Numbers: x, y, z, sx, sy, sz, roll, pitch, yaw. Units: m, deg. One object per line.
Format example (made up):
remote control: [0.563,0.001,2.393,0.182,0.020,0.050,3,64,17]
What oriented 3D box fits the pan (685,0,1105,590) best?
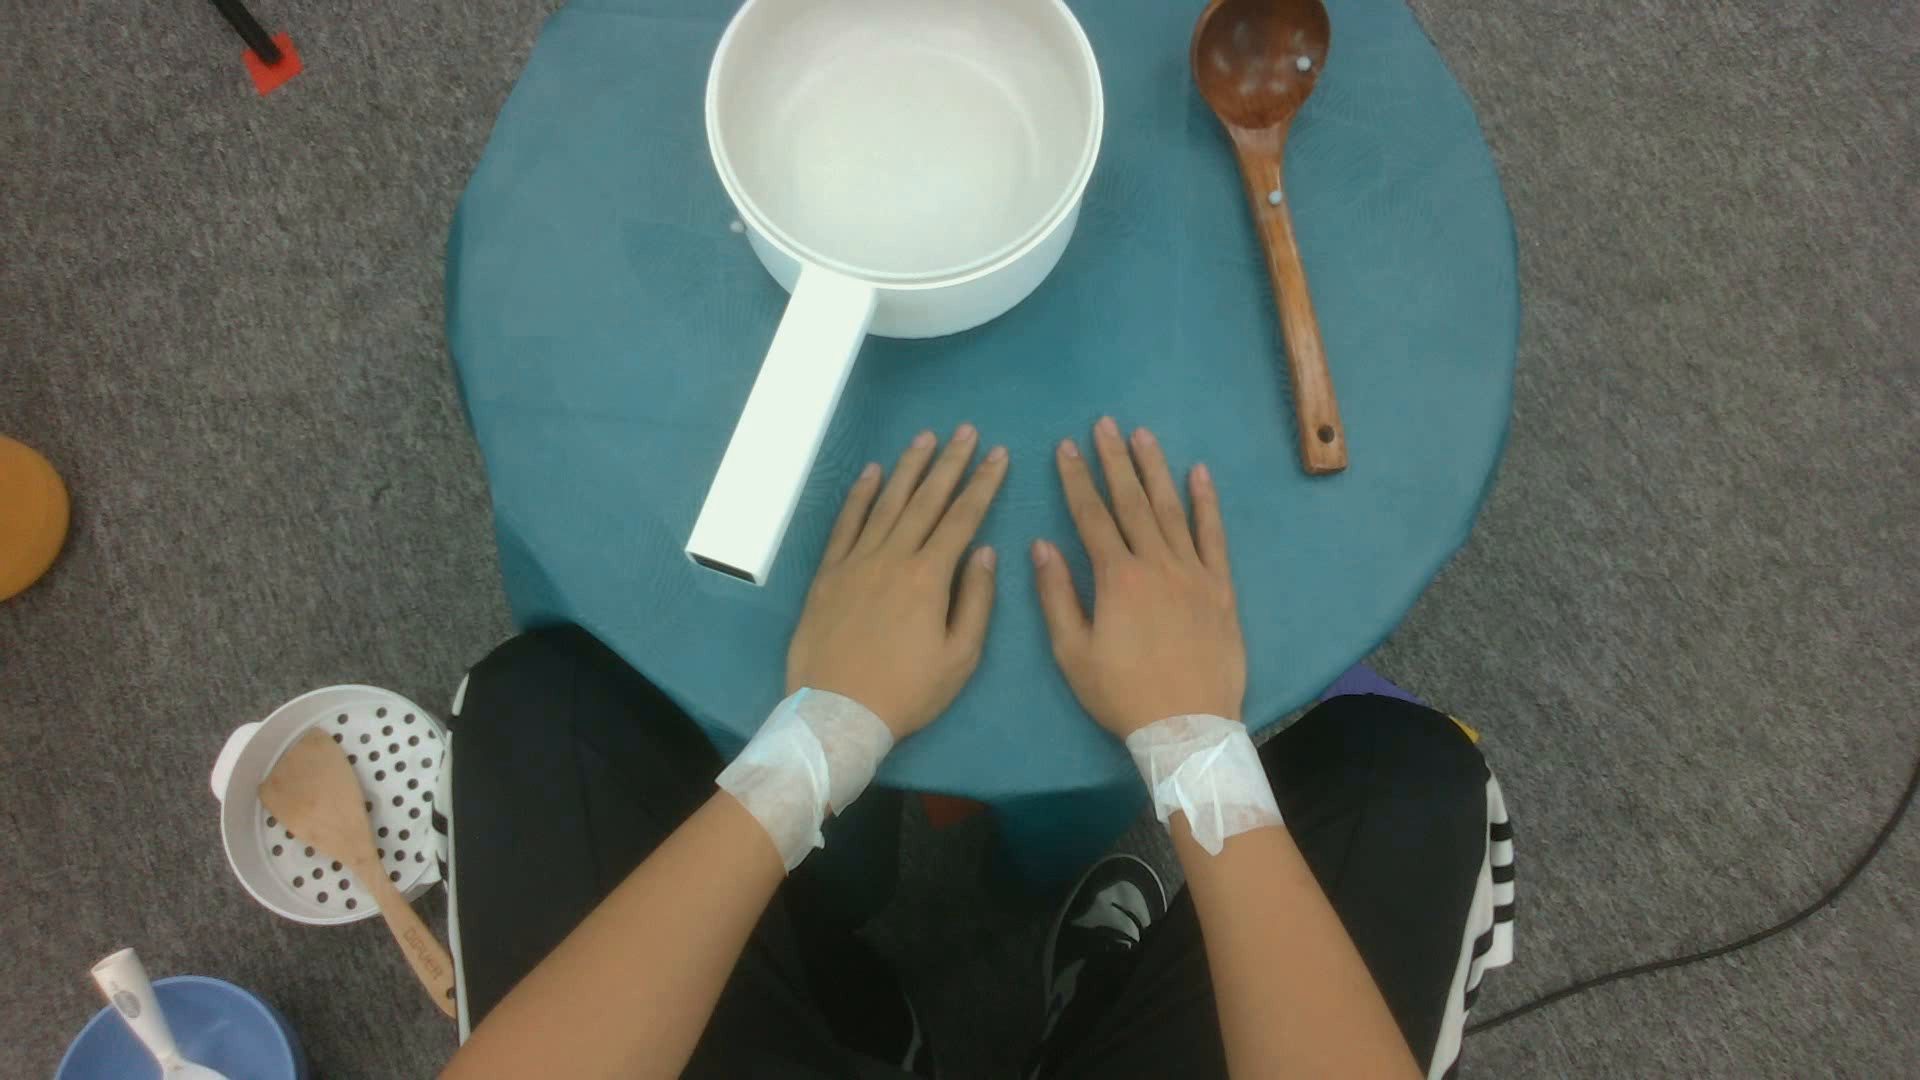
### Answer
pan: [-0.051,-0.136,0.740,0.201,0.102,0.355,20,76,4]

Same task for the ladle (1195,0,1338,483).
ladle: [0.185,-0.172,0.760,0.082,0.076,0.274,-5,74,-2]
